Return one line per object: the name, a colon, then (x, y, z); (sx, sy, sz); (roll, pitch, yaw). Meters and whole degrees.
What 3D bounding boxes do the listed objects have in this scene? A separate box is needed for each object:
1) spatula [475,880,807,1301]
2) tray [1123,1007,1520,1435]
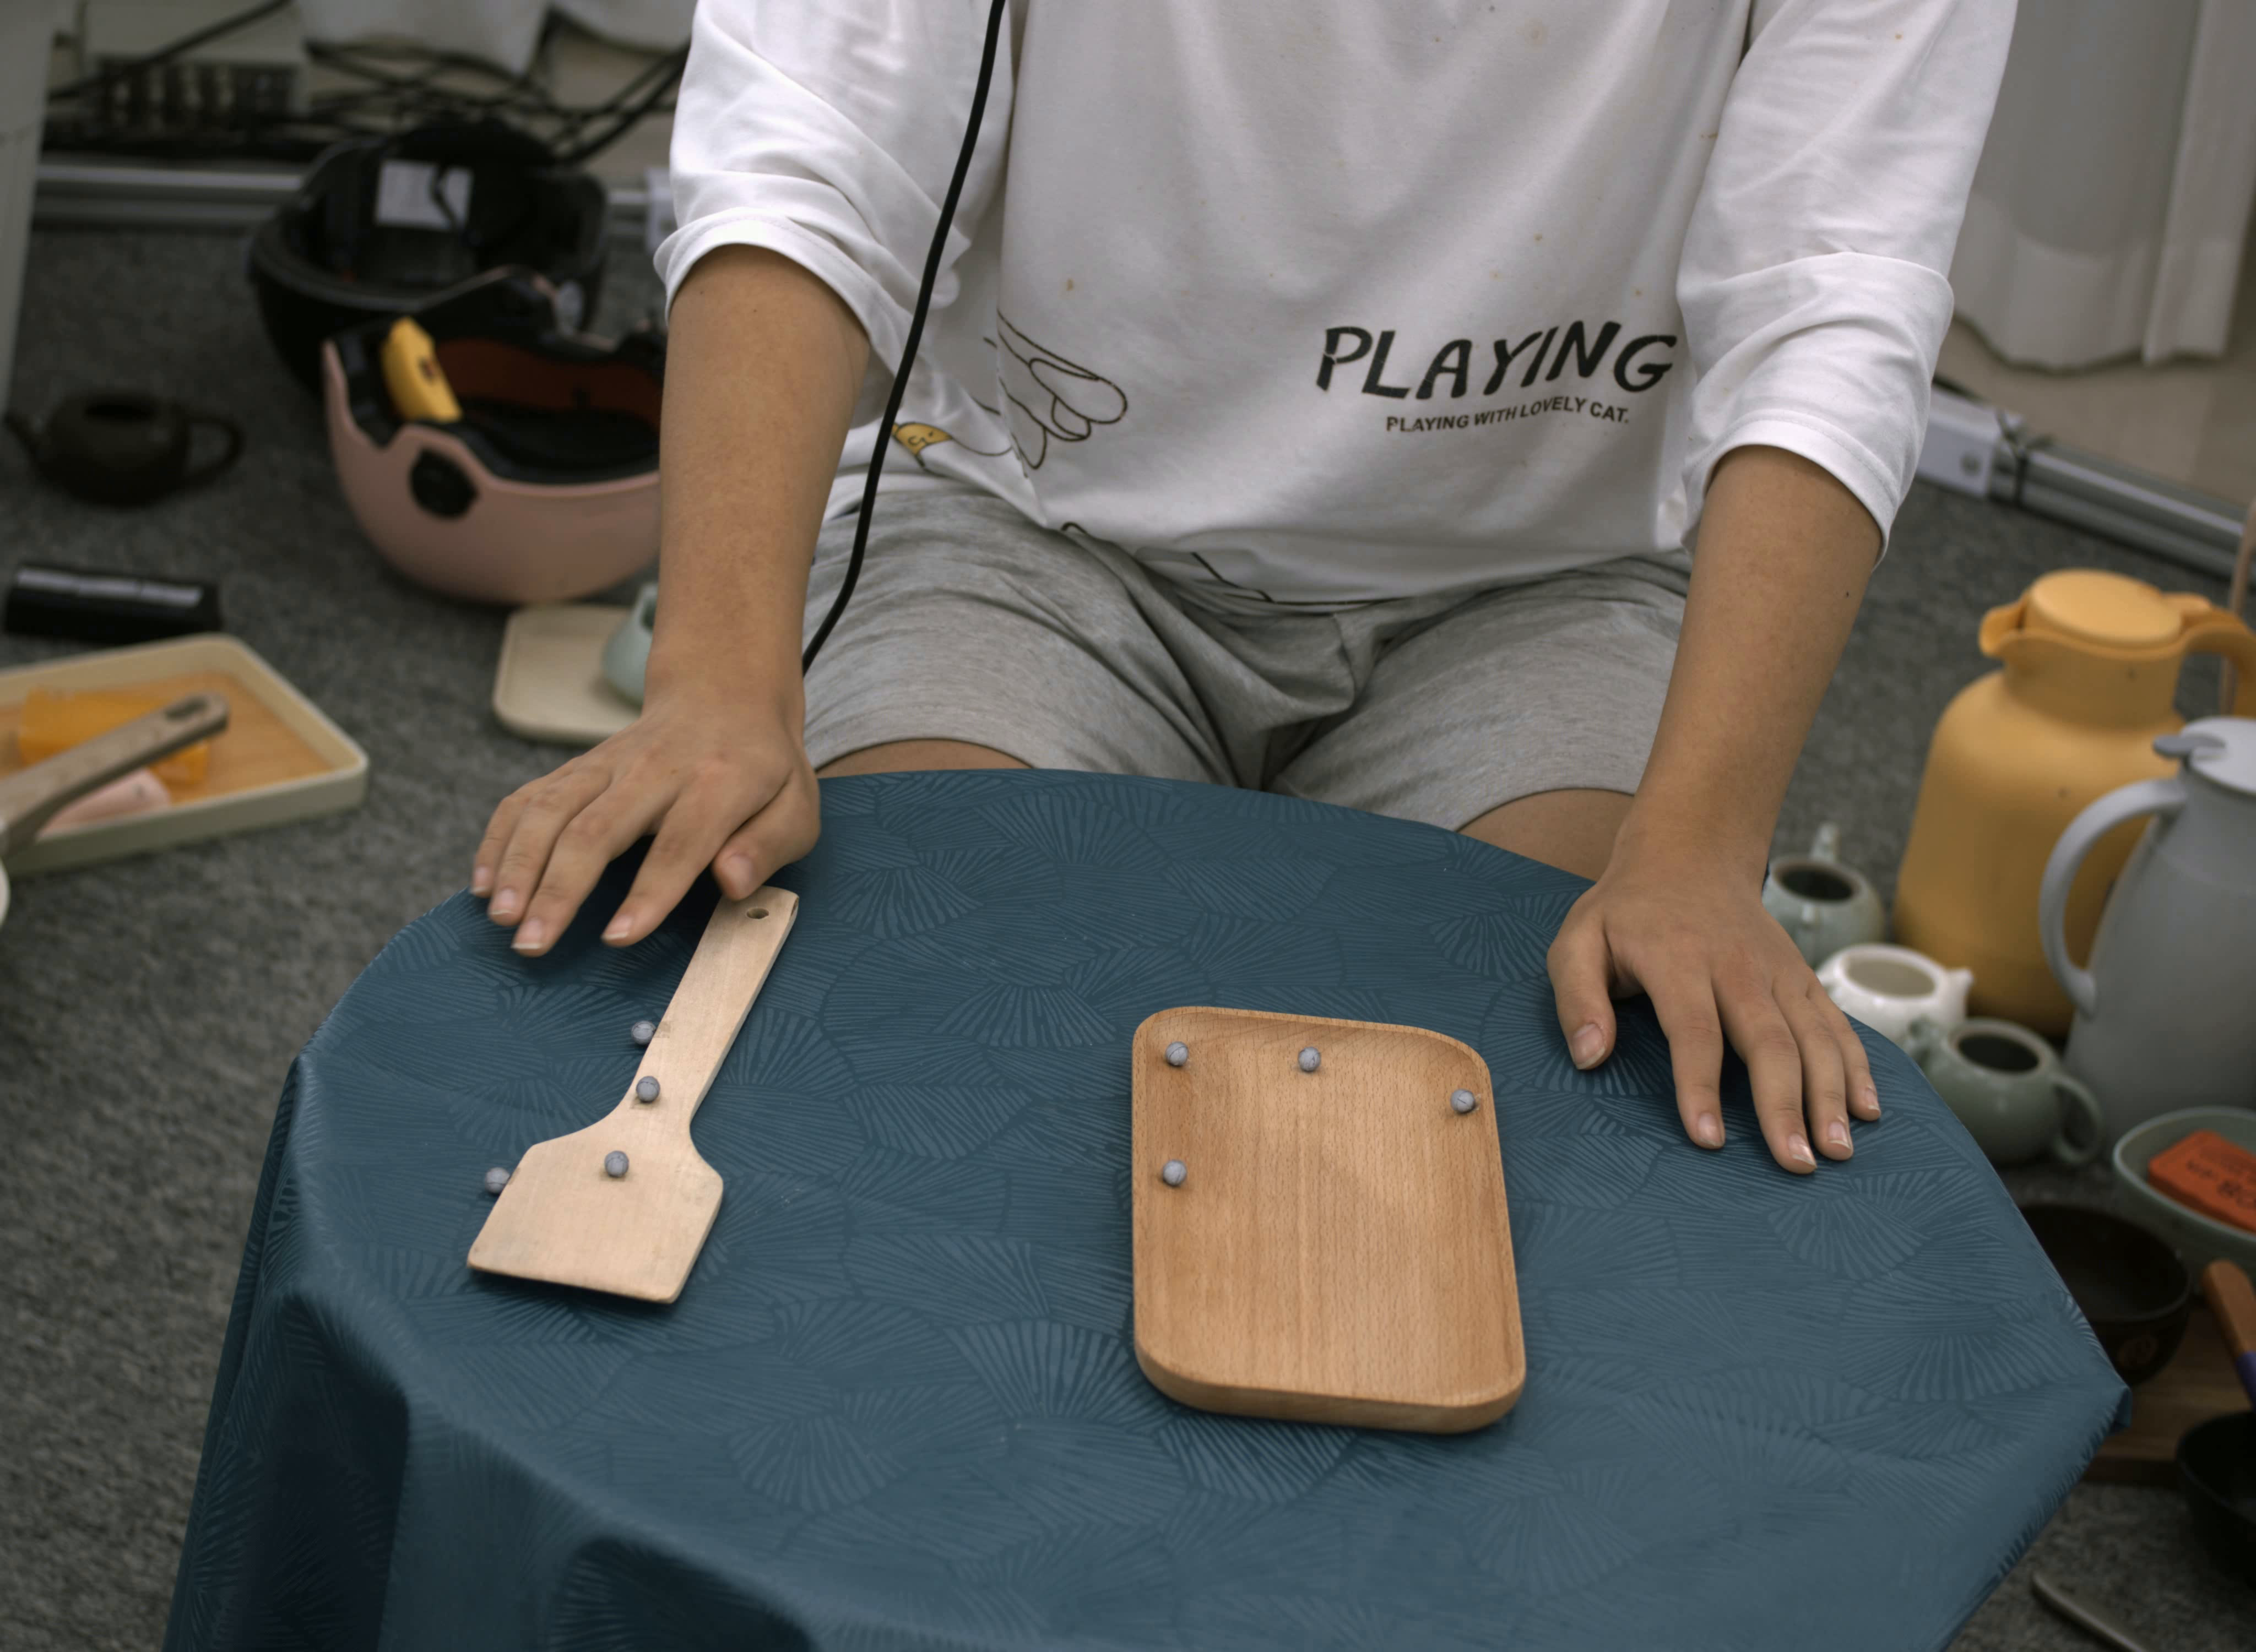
spatula: (-0.155, 0.085, 1.834); (0.072, 0.010, 0.294); (9, 27, 6)
tray: (0.063, 0.130, 1.790); (0.130, 0.023, 0.252); (4, 27, 0)
